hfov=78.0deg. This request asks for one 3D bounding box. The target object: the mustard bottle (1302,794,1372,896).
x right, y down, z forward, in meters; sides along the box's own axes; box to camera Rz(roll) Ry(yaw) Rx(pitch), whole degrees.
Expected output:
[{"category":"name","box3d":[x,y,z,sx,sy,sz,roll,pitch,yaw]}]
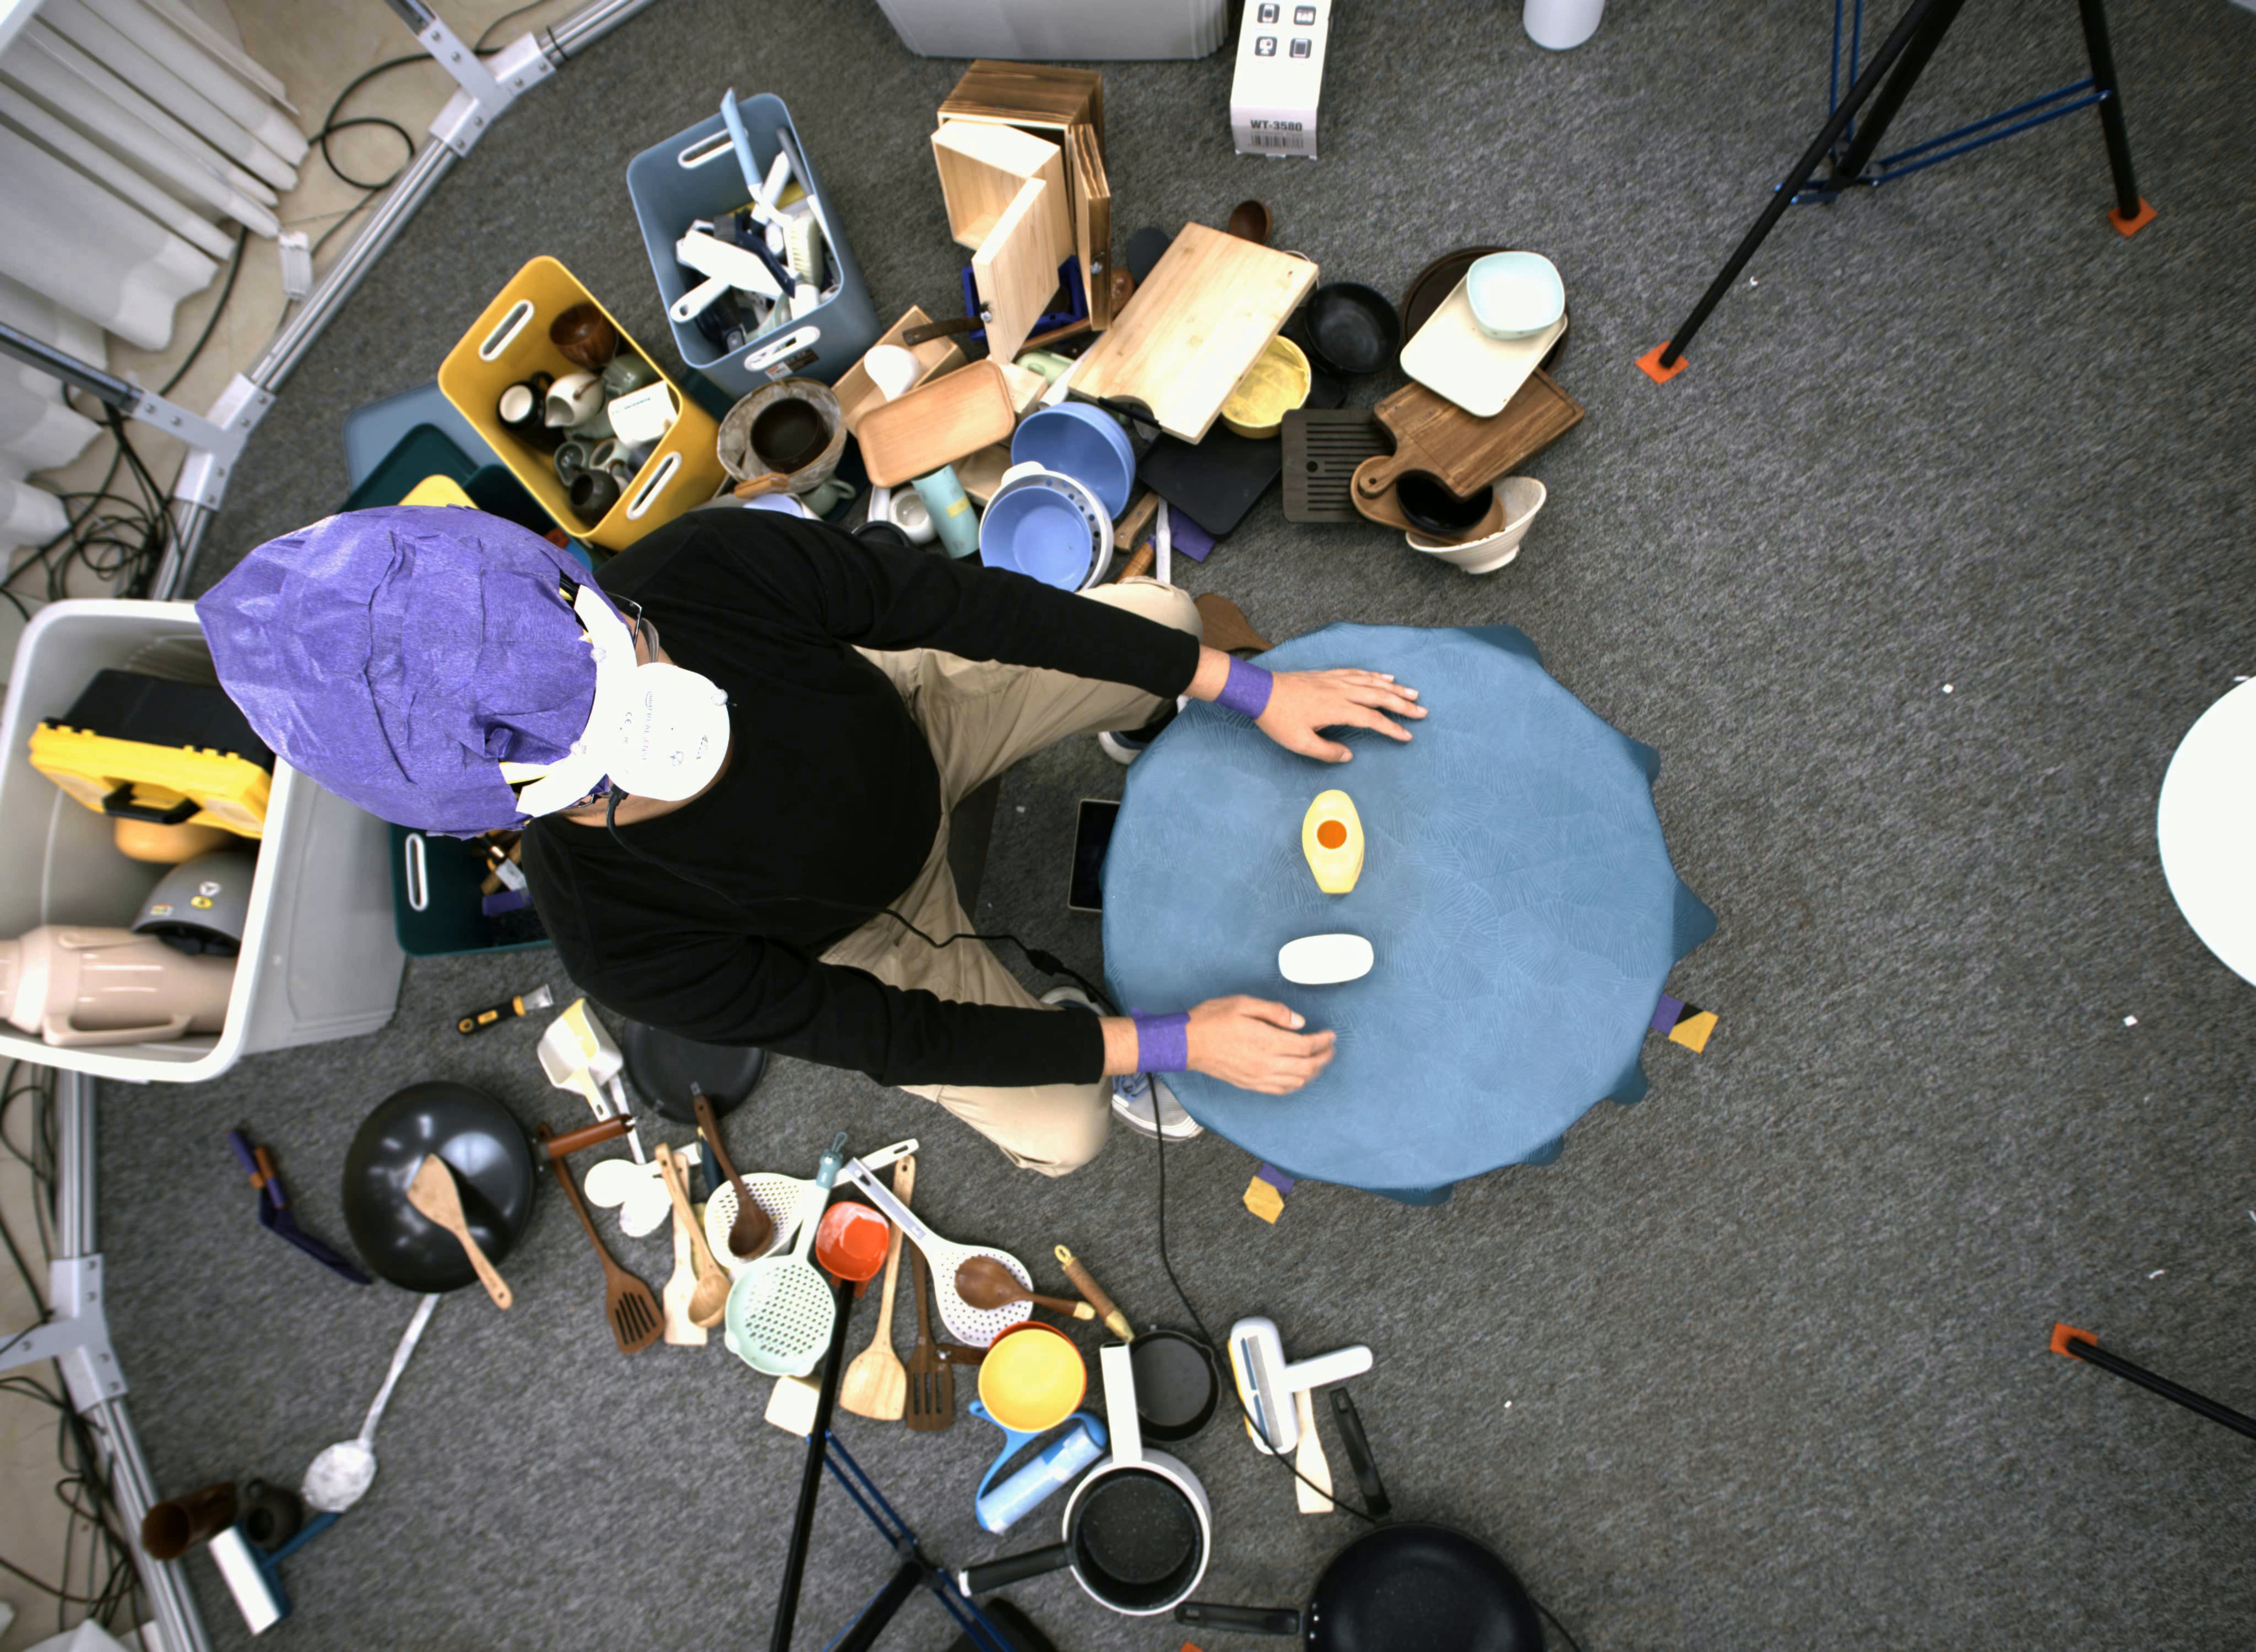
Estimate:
[{"category":"mustard bottle","box3d":[0.211,0.018,1.388,0.059,0.172,0.098,-6,85,14]}]

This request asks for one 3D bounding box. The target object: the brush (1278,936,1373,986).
[{"category":"brush","box3d":[0.204,0.138,1.430,0.099,0.073,0.050,-4,83,9]}]
